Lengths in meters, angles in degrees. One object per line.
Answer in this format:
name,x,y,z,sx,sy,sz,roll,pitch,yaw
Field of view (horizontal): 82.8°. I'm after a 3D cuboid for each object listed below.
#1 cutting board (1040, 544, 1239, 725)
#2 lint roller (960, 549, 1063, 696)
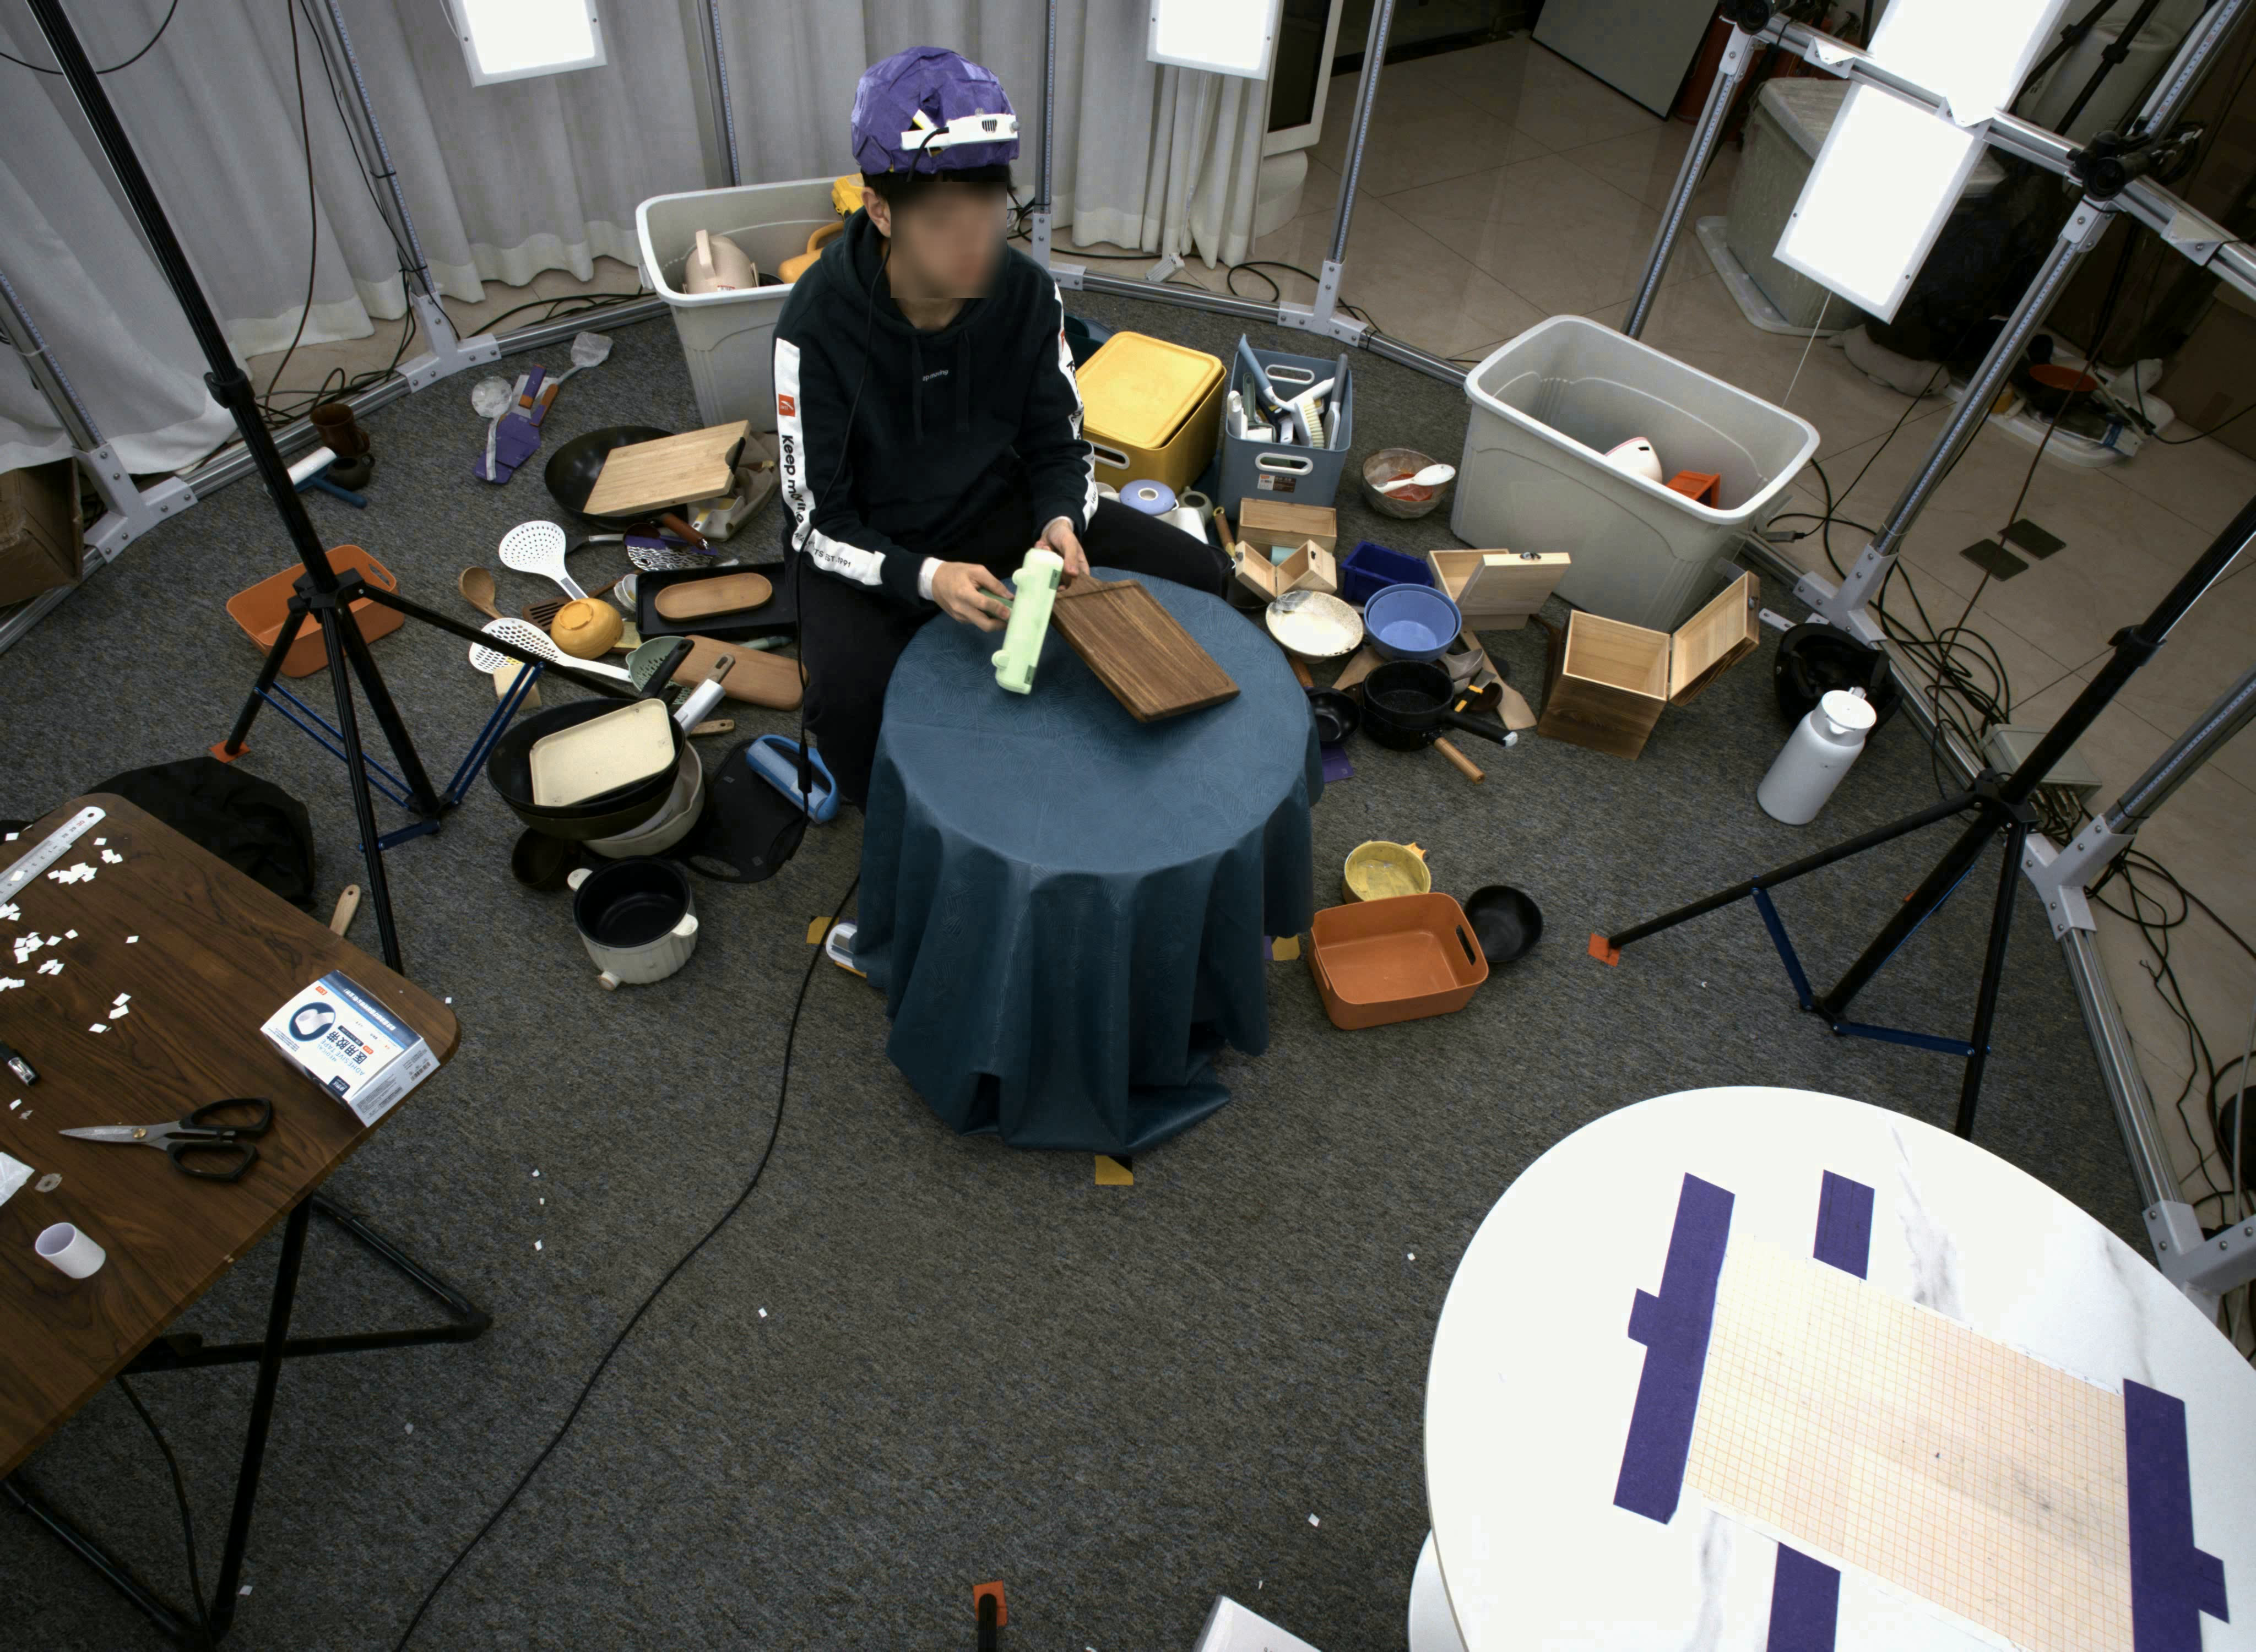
cutting board,-0.015,-0.288,1.842,0.201,0.023,0.358,-19,58,-41
lint roller,-0.183,-0.303,1.804,0.185,0.196,0.082,24,18,28
